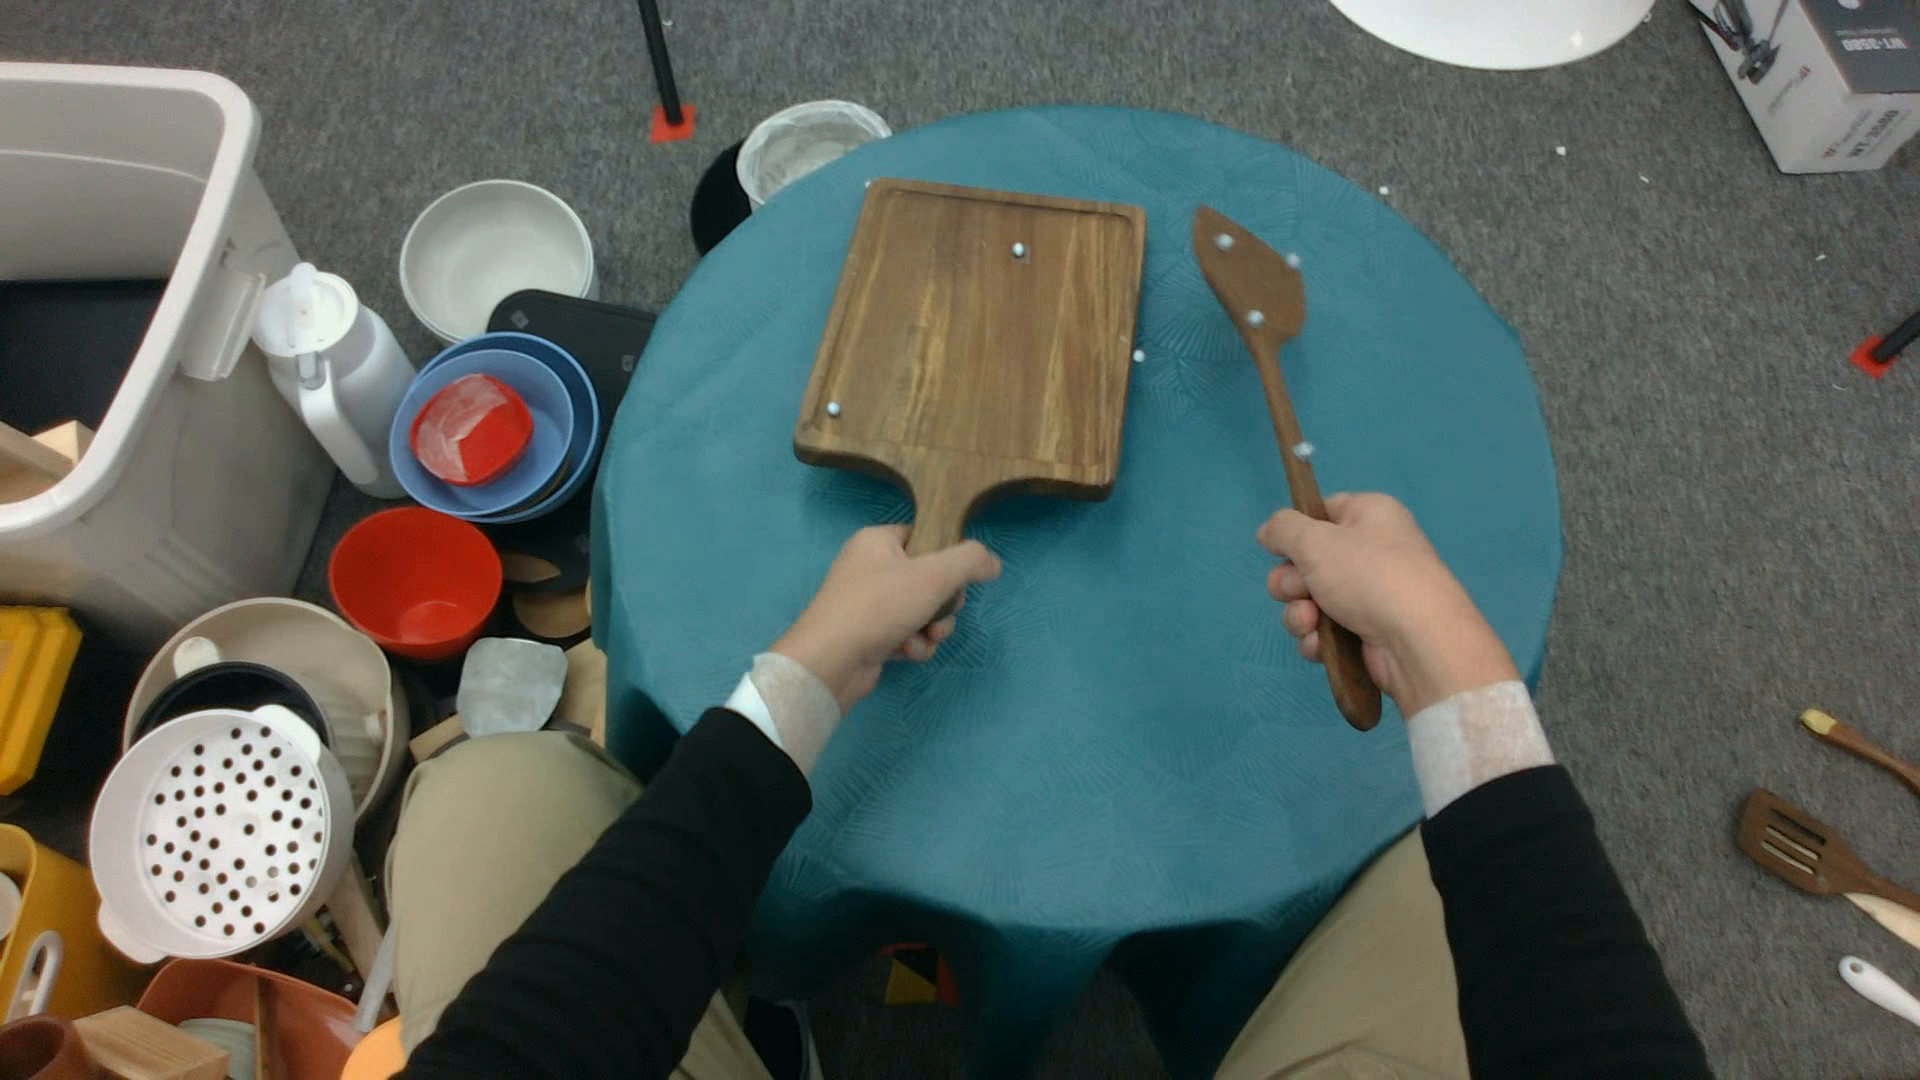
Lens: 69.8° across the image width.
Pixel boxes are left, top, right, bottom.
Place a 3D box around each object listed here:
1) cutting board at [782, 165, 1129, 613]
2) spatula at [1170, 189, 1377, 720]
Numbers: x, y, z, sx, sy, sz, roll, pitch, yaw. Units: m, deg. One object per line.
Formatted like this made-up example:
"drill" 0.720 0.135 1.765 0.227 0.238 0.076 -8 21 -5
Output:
"cutting board" -0.001 -0.107 0.855 0.201 0.023 0.354 6 54 3
"spatula" 0.172 -0.065 0.746 0.096 0.016 0.387 24 41 -27
